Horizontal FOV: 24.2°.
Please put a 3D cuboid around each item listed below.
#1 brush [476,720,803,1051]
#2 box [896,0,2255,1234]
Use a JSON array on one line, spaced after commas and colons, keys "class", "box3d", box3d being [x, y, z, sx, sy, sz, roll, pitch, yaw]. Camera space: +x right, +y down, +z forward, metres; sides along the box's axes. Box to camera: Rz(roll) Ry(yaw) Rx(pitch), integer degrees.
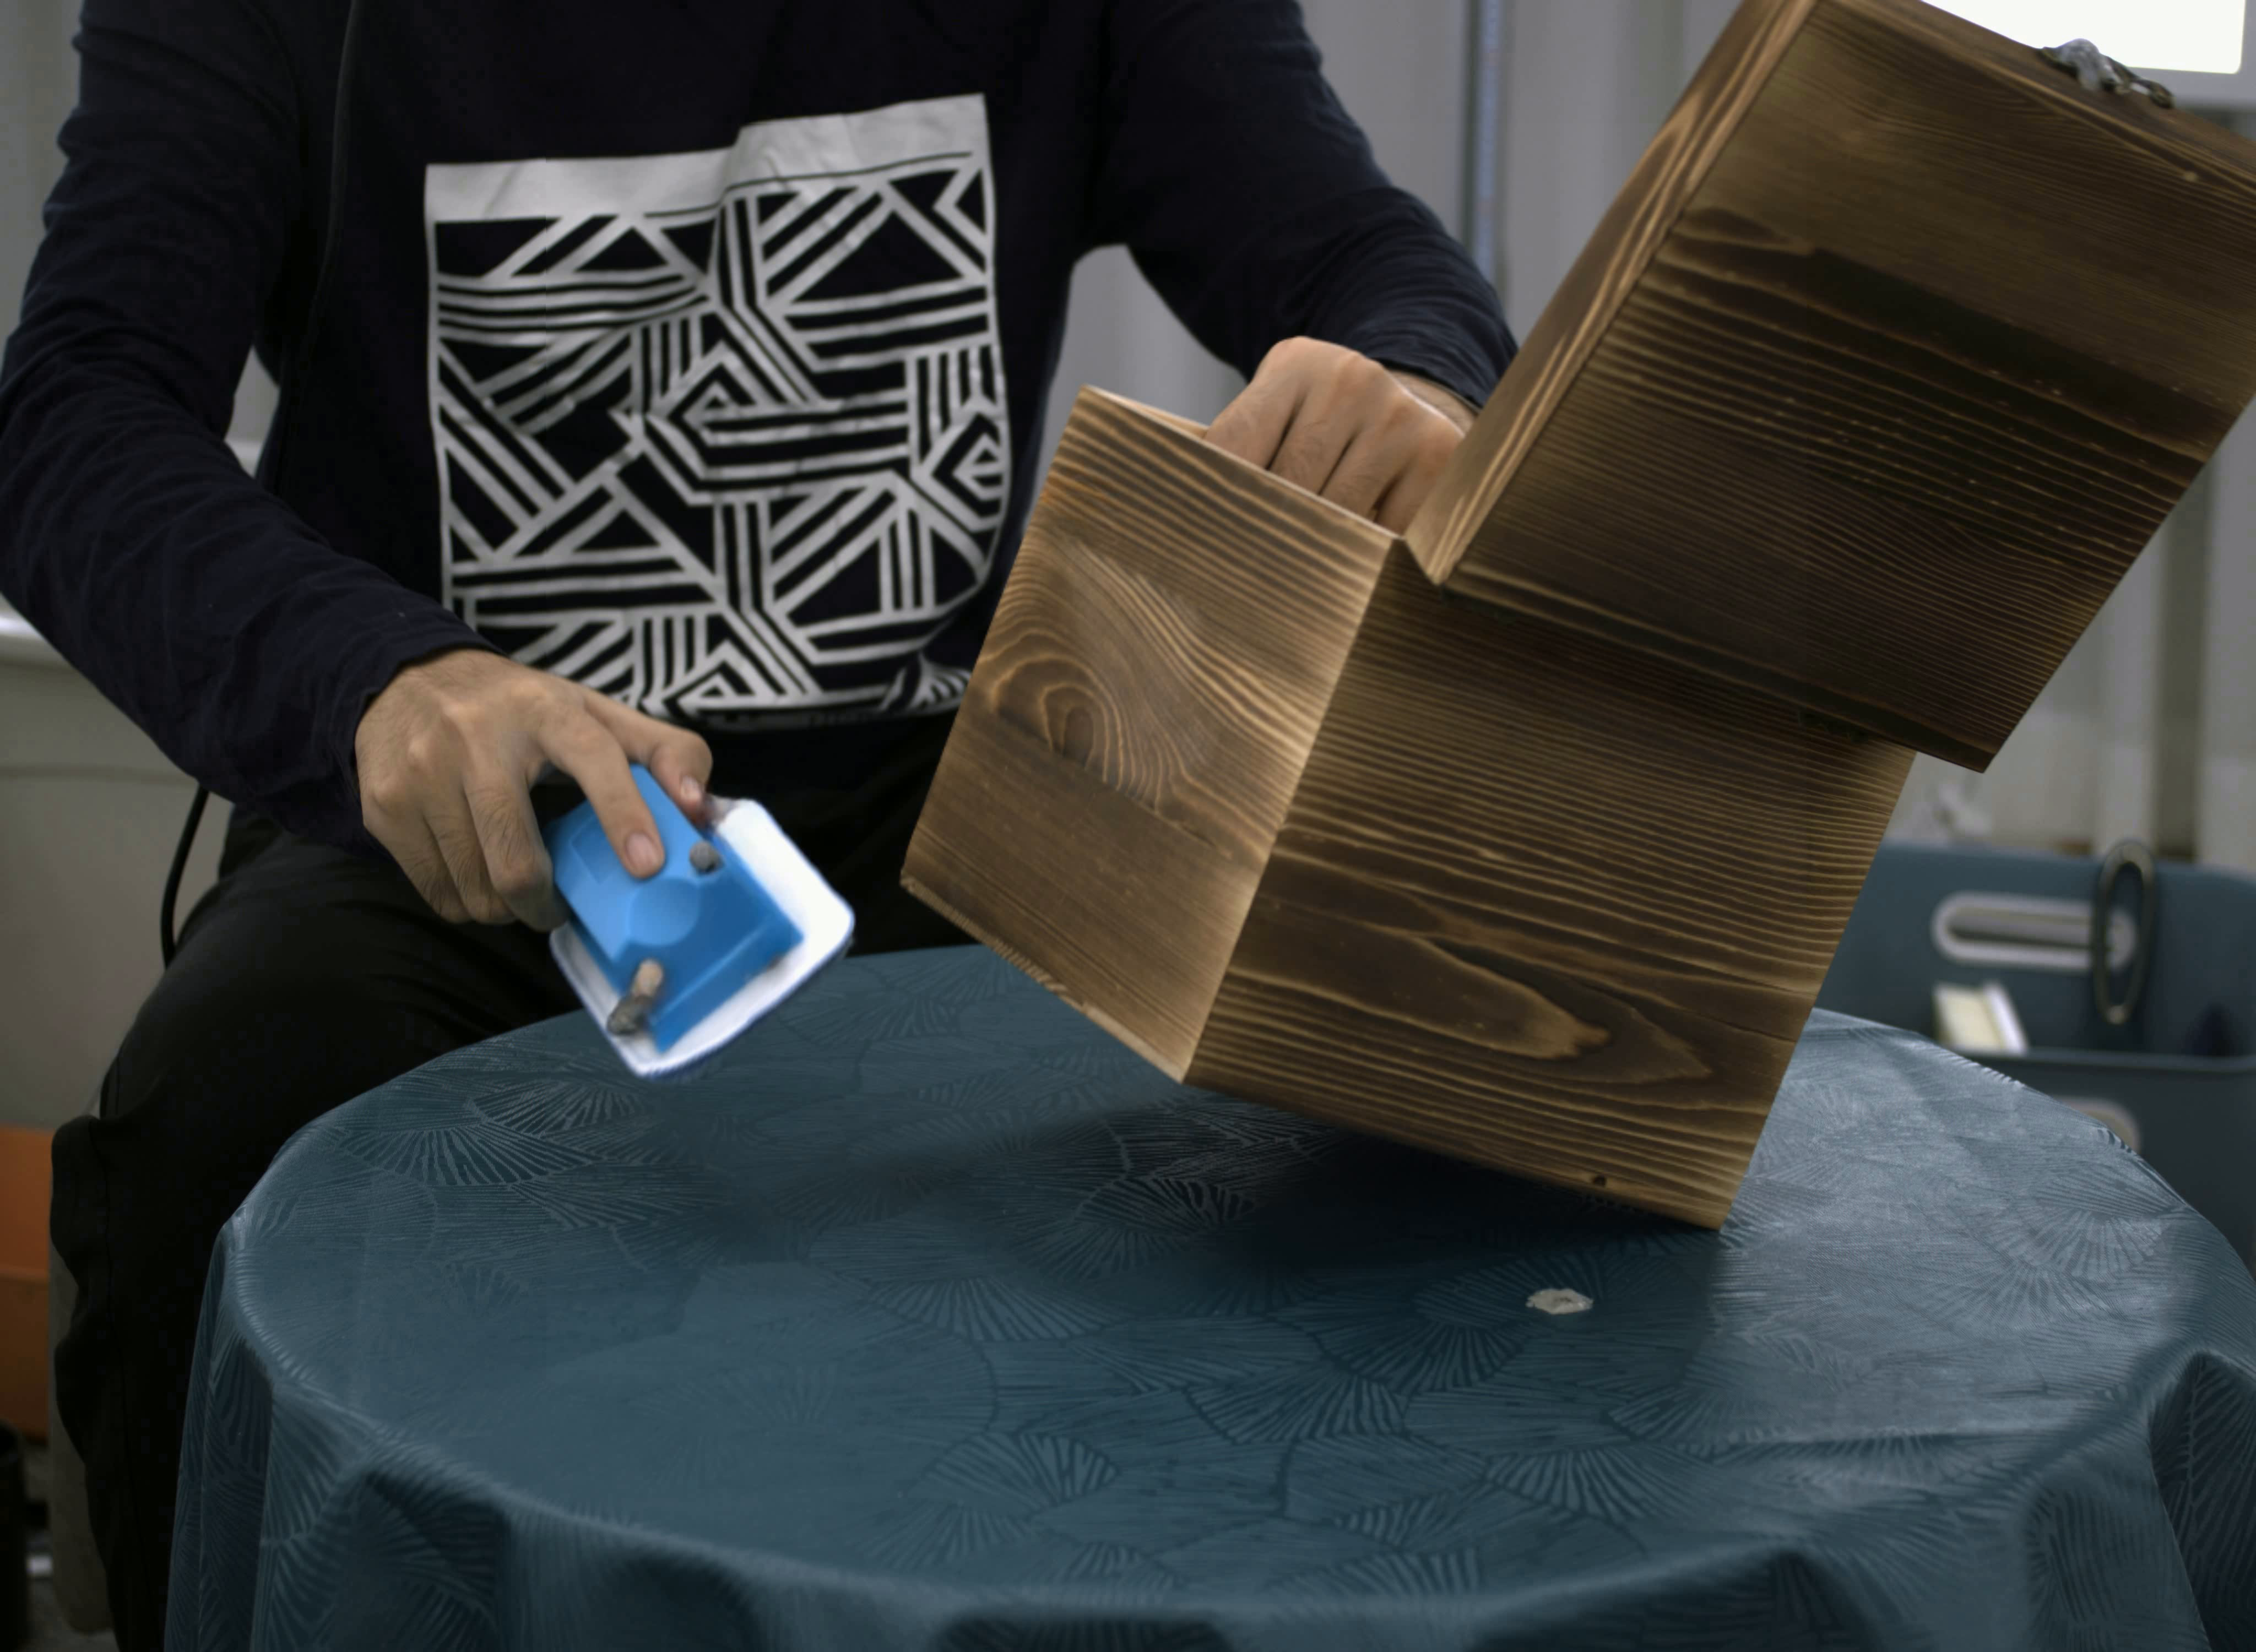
[{"class": "brush", "box3d": [-0.156, 0.013, 1.599, 0.084, 0.056, 0.142, -36, 31, -6]}, {"class": "box", "box3d": [0.142, -0.083, 1.563, 0.210, 0.377, 0.318, 17, 8, -31]}]
